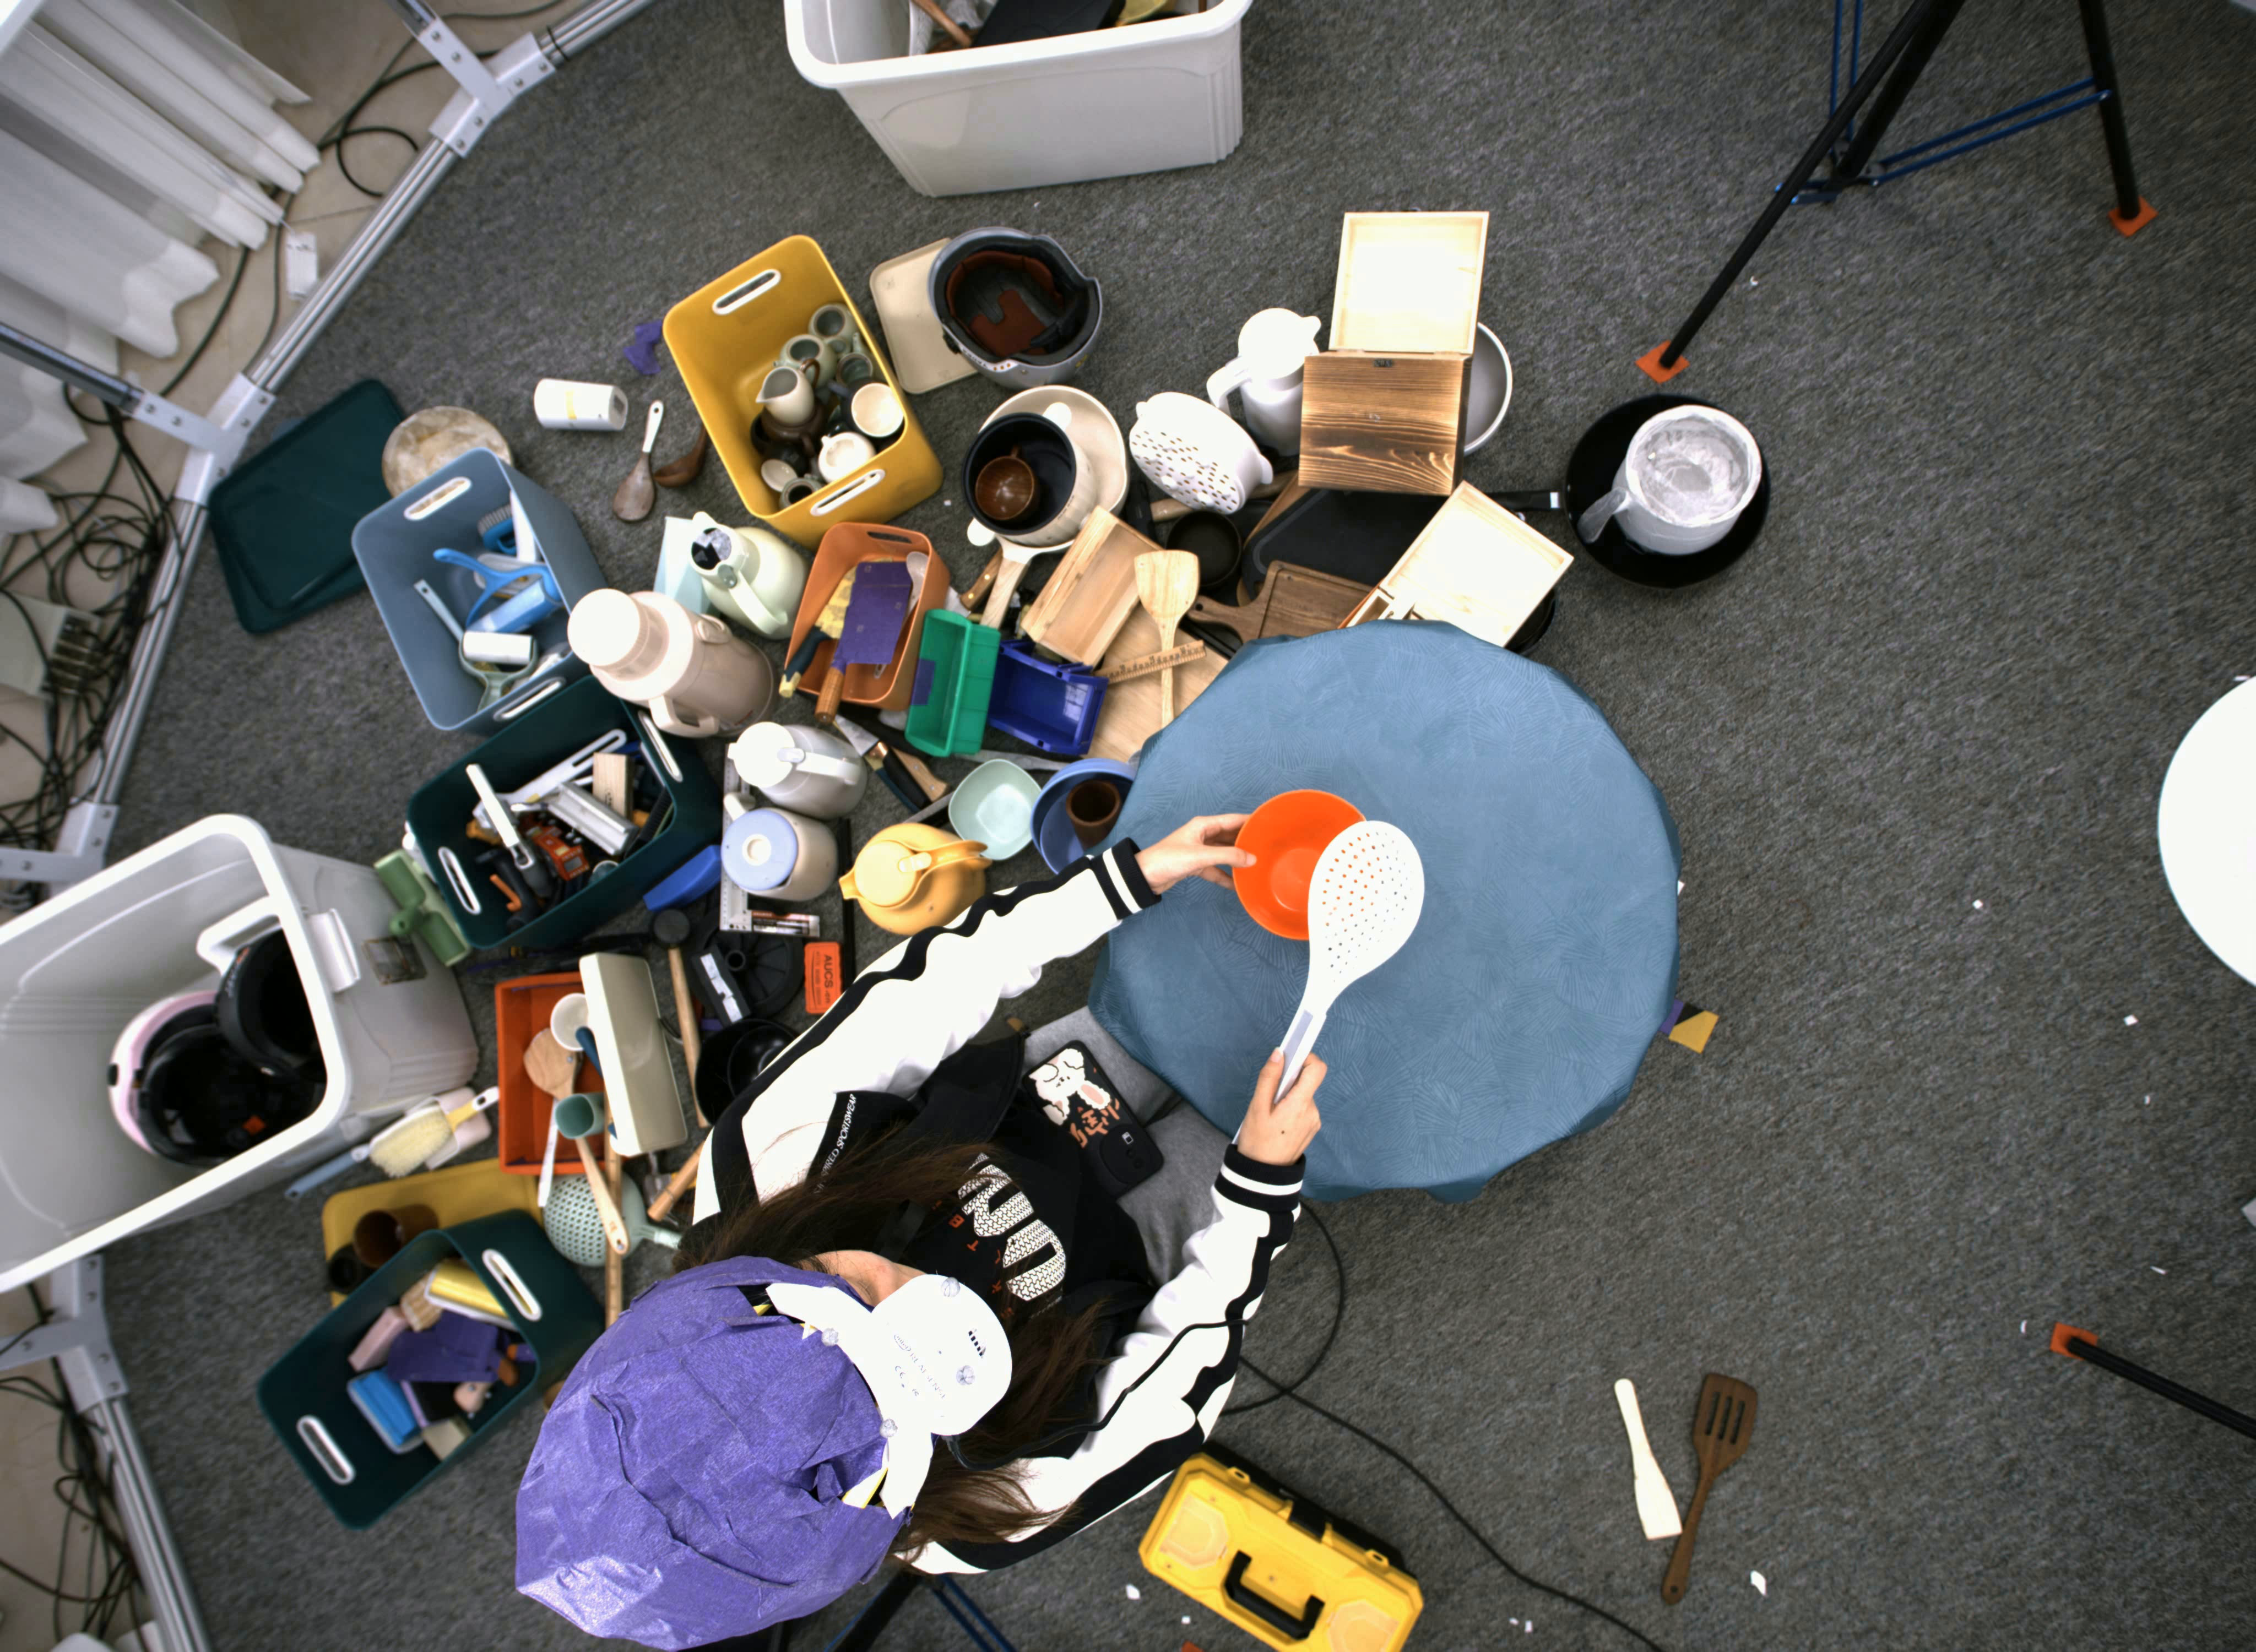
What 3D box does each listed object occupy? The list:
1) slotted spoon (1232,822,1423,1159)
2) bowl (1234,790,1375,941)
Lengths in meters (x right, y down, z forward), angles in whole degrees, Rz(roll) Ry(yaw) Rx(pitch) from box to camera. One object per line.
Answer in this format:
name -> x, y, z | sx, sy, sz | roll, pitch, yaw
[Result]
slotted spoon -> 0.180, 0.160, 1.303 | 0.134, 0.046, 0.353 | 41, 108, 49
bowl -> 0.180, 0.042, 1.393 | 0.148, 0.104, 0.147 | 0, 88, 5
